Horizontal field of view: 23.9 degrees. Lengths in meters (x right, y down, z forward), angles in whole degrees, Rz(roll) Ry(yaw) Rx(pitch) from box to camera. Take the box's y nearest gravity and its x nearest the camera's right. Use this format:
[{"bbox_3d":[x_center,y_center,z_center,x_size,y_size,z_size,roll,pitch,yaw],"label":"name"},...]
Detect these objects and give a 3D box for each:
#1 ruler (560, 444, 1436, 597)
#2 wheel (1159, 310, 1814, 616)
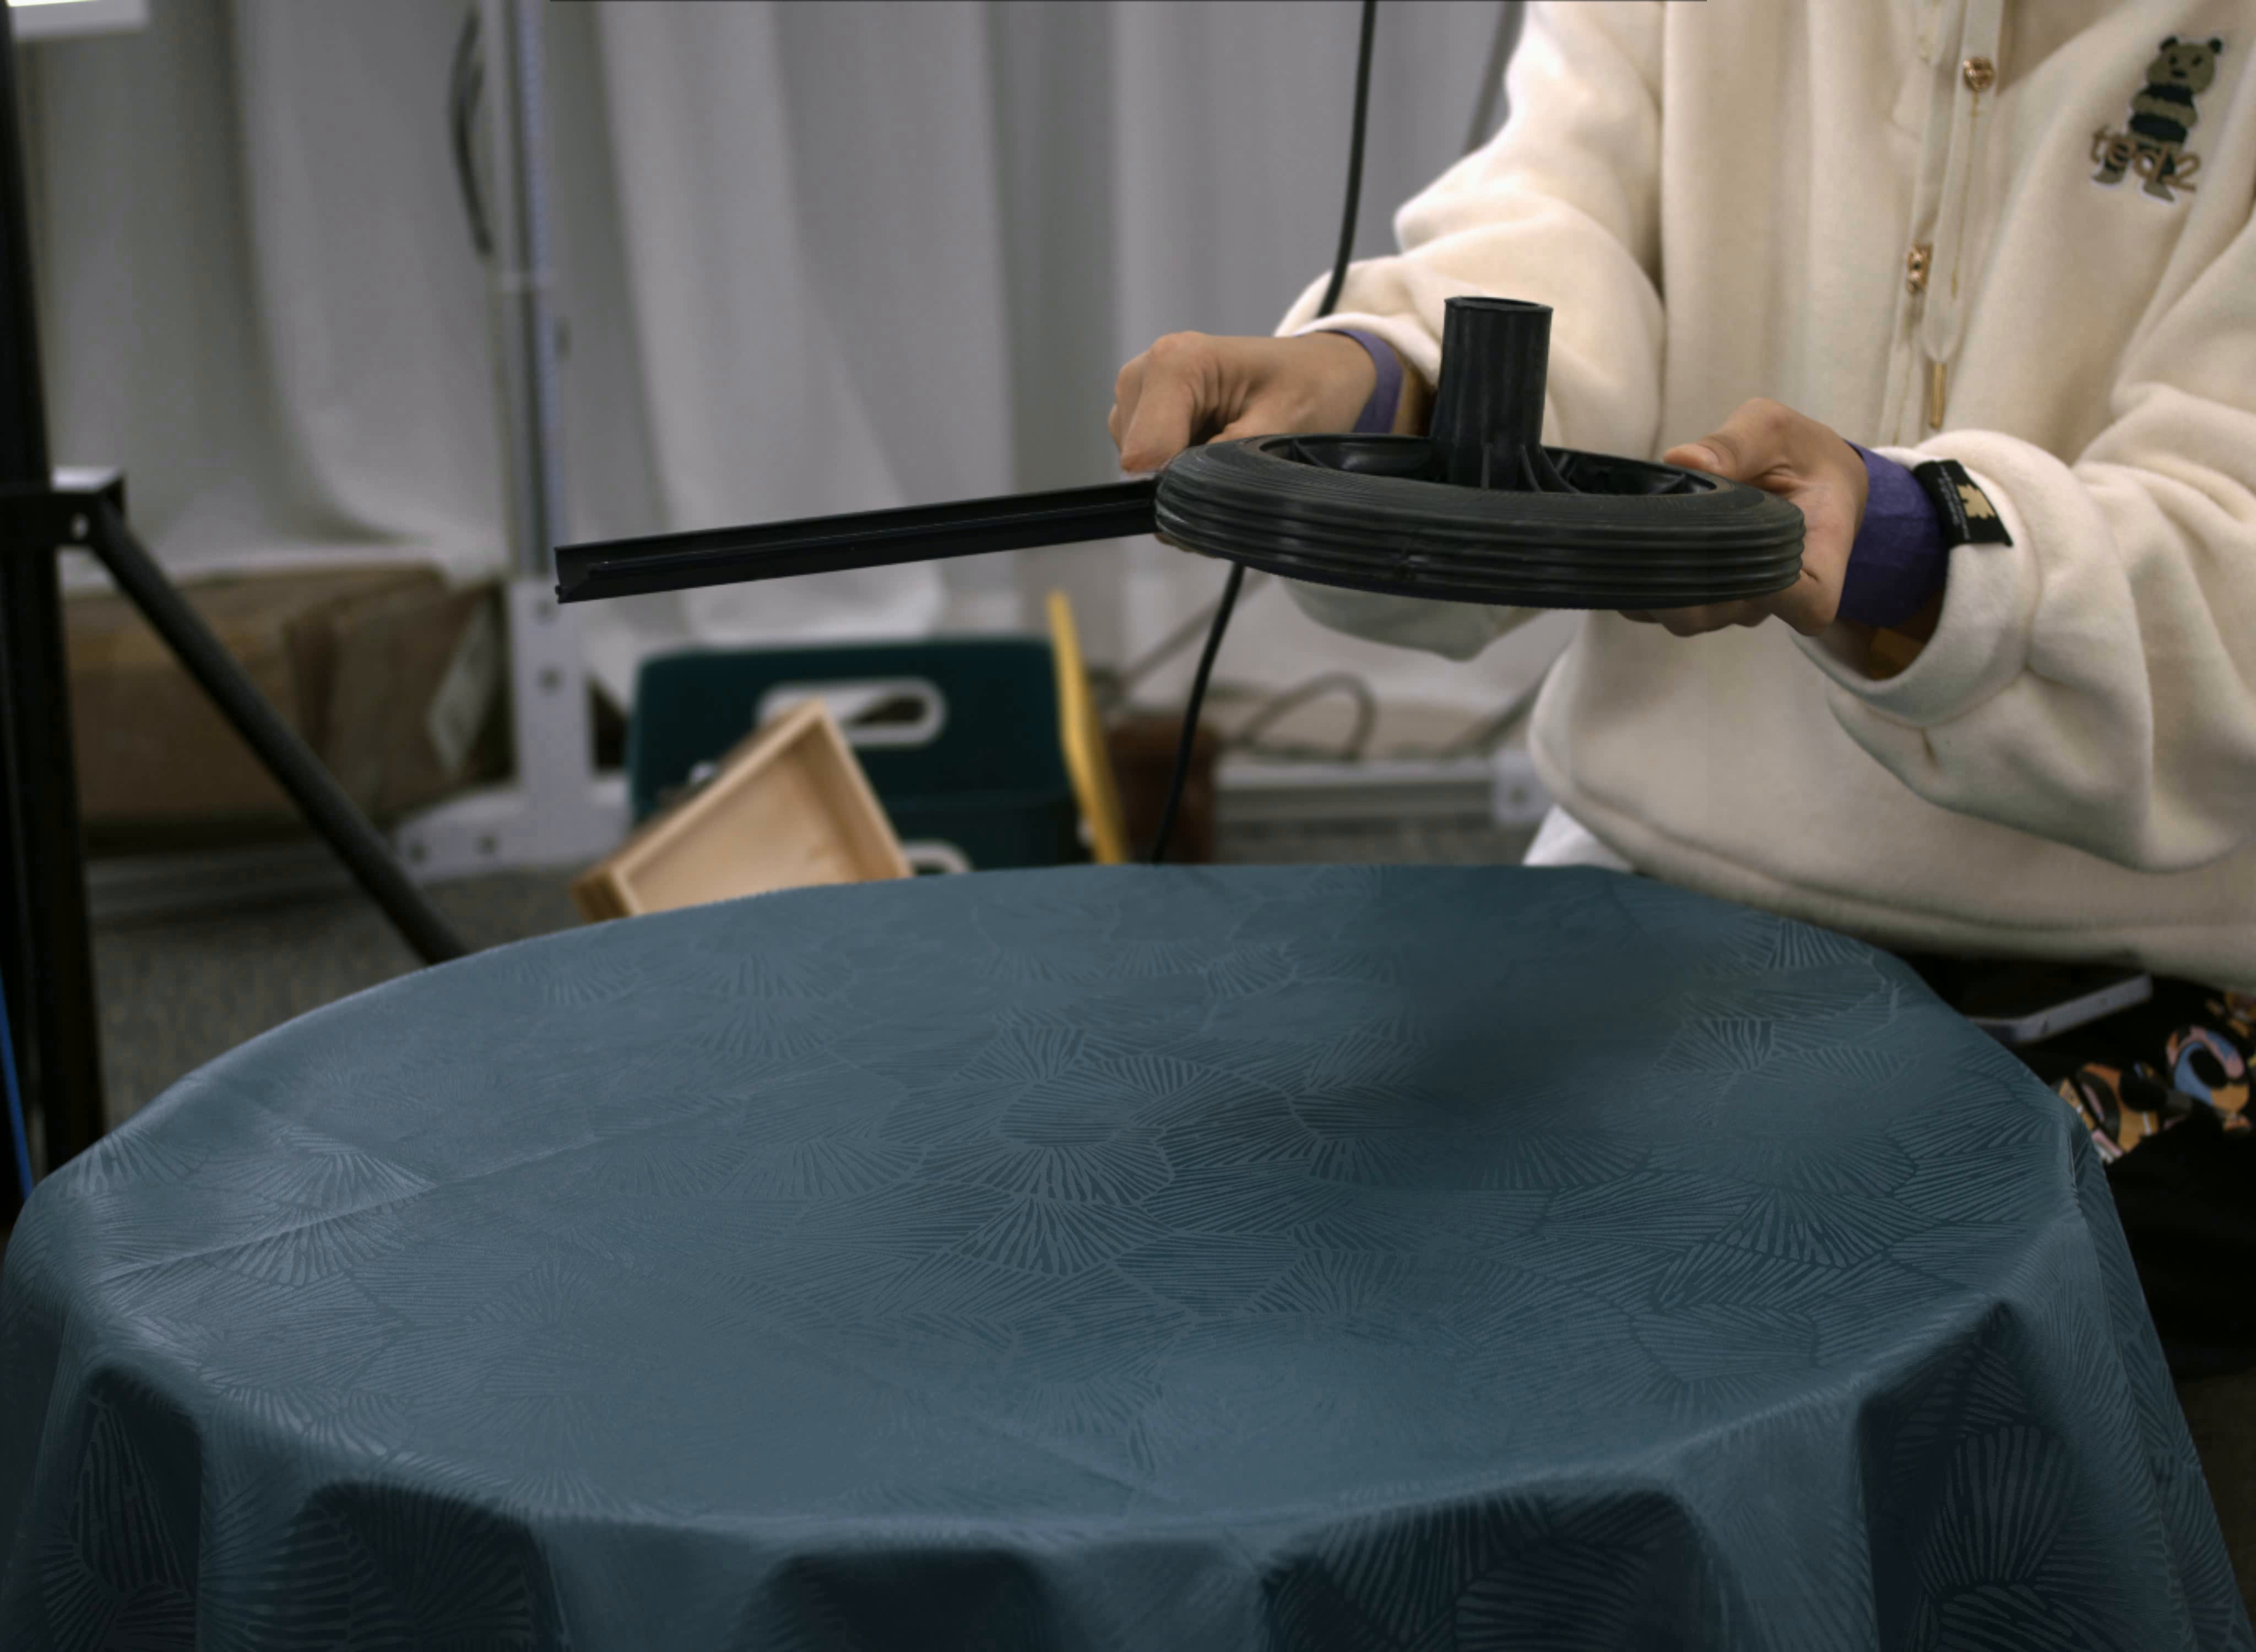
[{"bbox_3d":[-0.024,-0.096,1.598,0.305,0.017,0.040,-8,-8,-27],"label":"ruler"},{"bbox_3d":[0.105,-0.107,1.535,0.182,0.079,0.194,-3,12,-36],"label":"wheel"}]
